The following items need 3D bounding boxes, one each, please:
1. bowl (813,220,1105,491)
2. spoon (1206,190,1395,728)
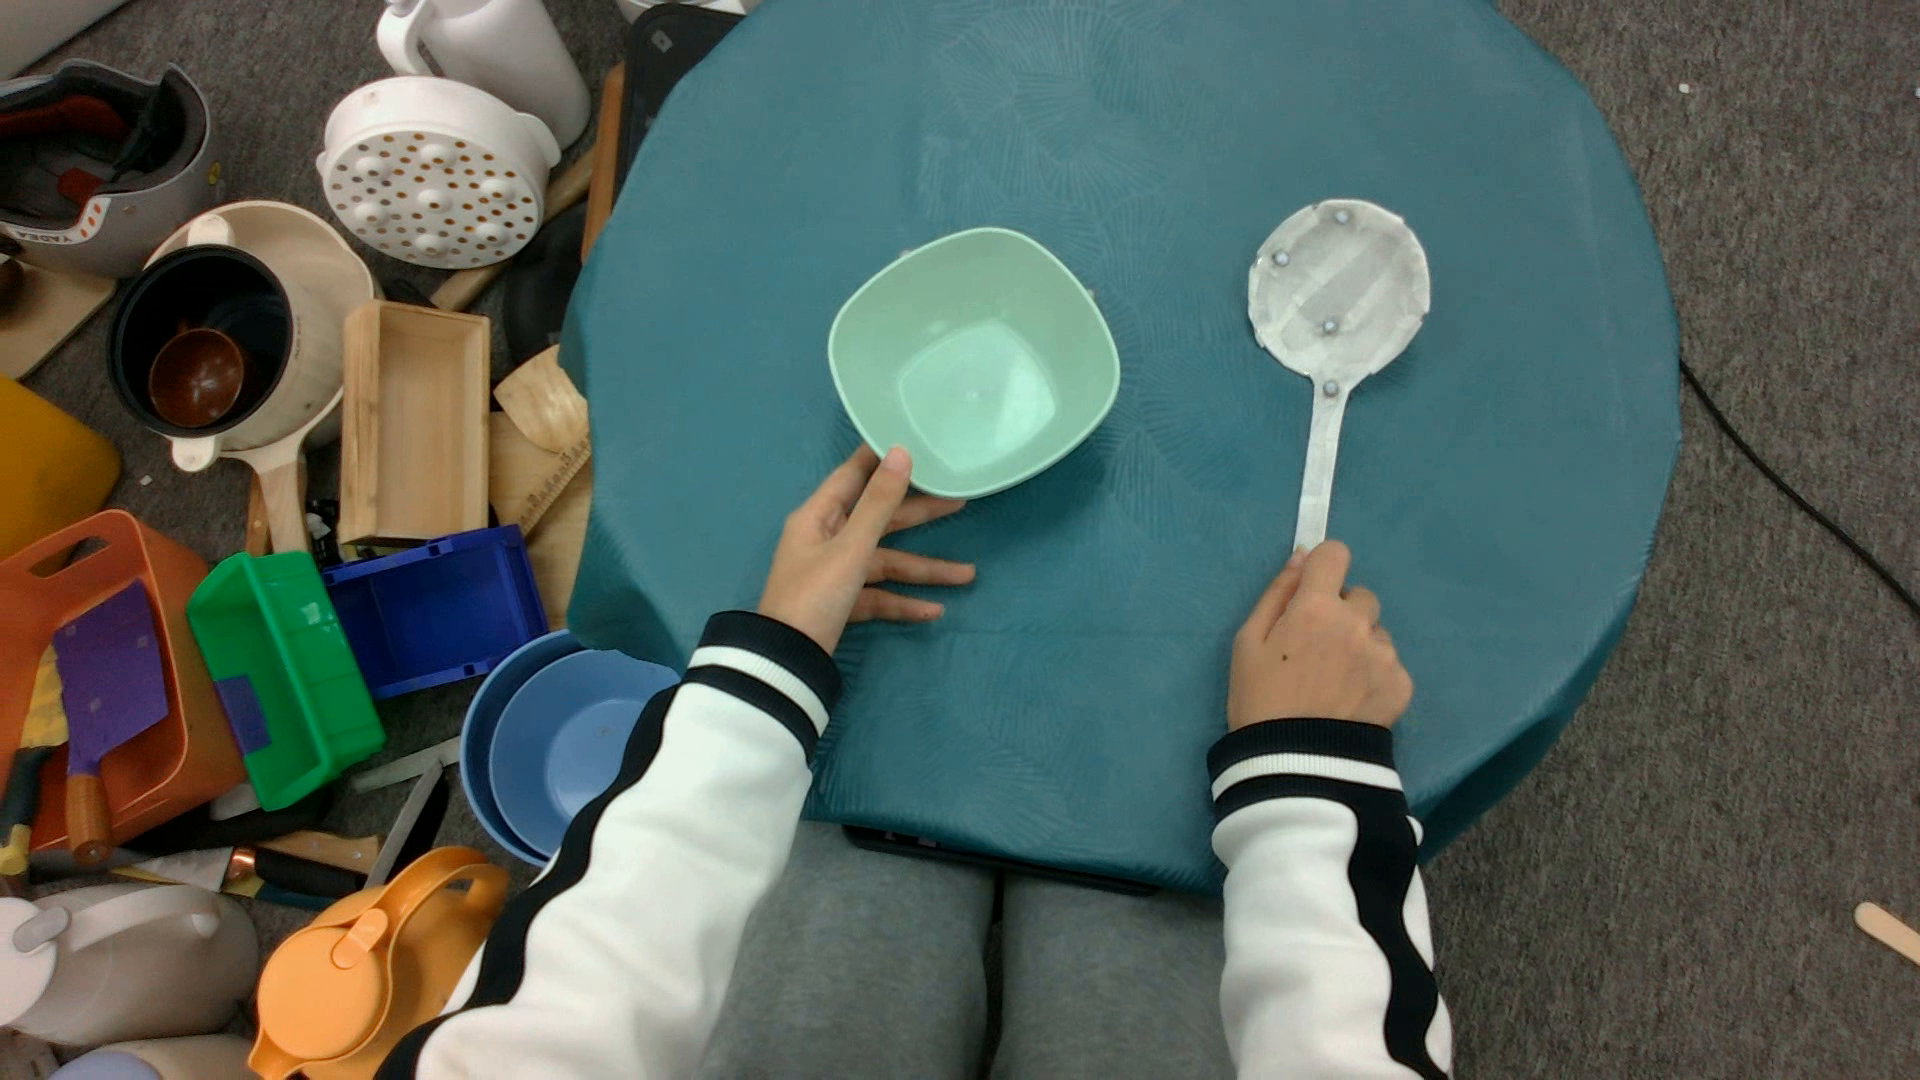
[{"bbox_3d":[0.000,-0.089,0.727,0.151,0.058,0.152,-1,72,2],"label":"bowl"},{"bbox_3d":[0.157,-0.045,0.708,0.100,0.059,0.278,4,72,33],"label":"spoon"}]
